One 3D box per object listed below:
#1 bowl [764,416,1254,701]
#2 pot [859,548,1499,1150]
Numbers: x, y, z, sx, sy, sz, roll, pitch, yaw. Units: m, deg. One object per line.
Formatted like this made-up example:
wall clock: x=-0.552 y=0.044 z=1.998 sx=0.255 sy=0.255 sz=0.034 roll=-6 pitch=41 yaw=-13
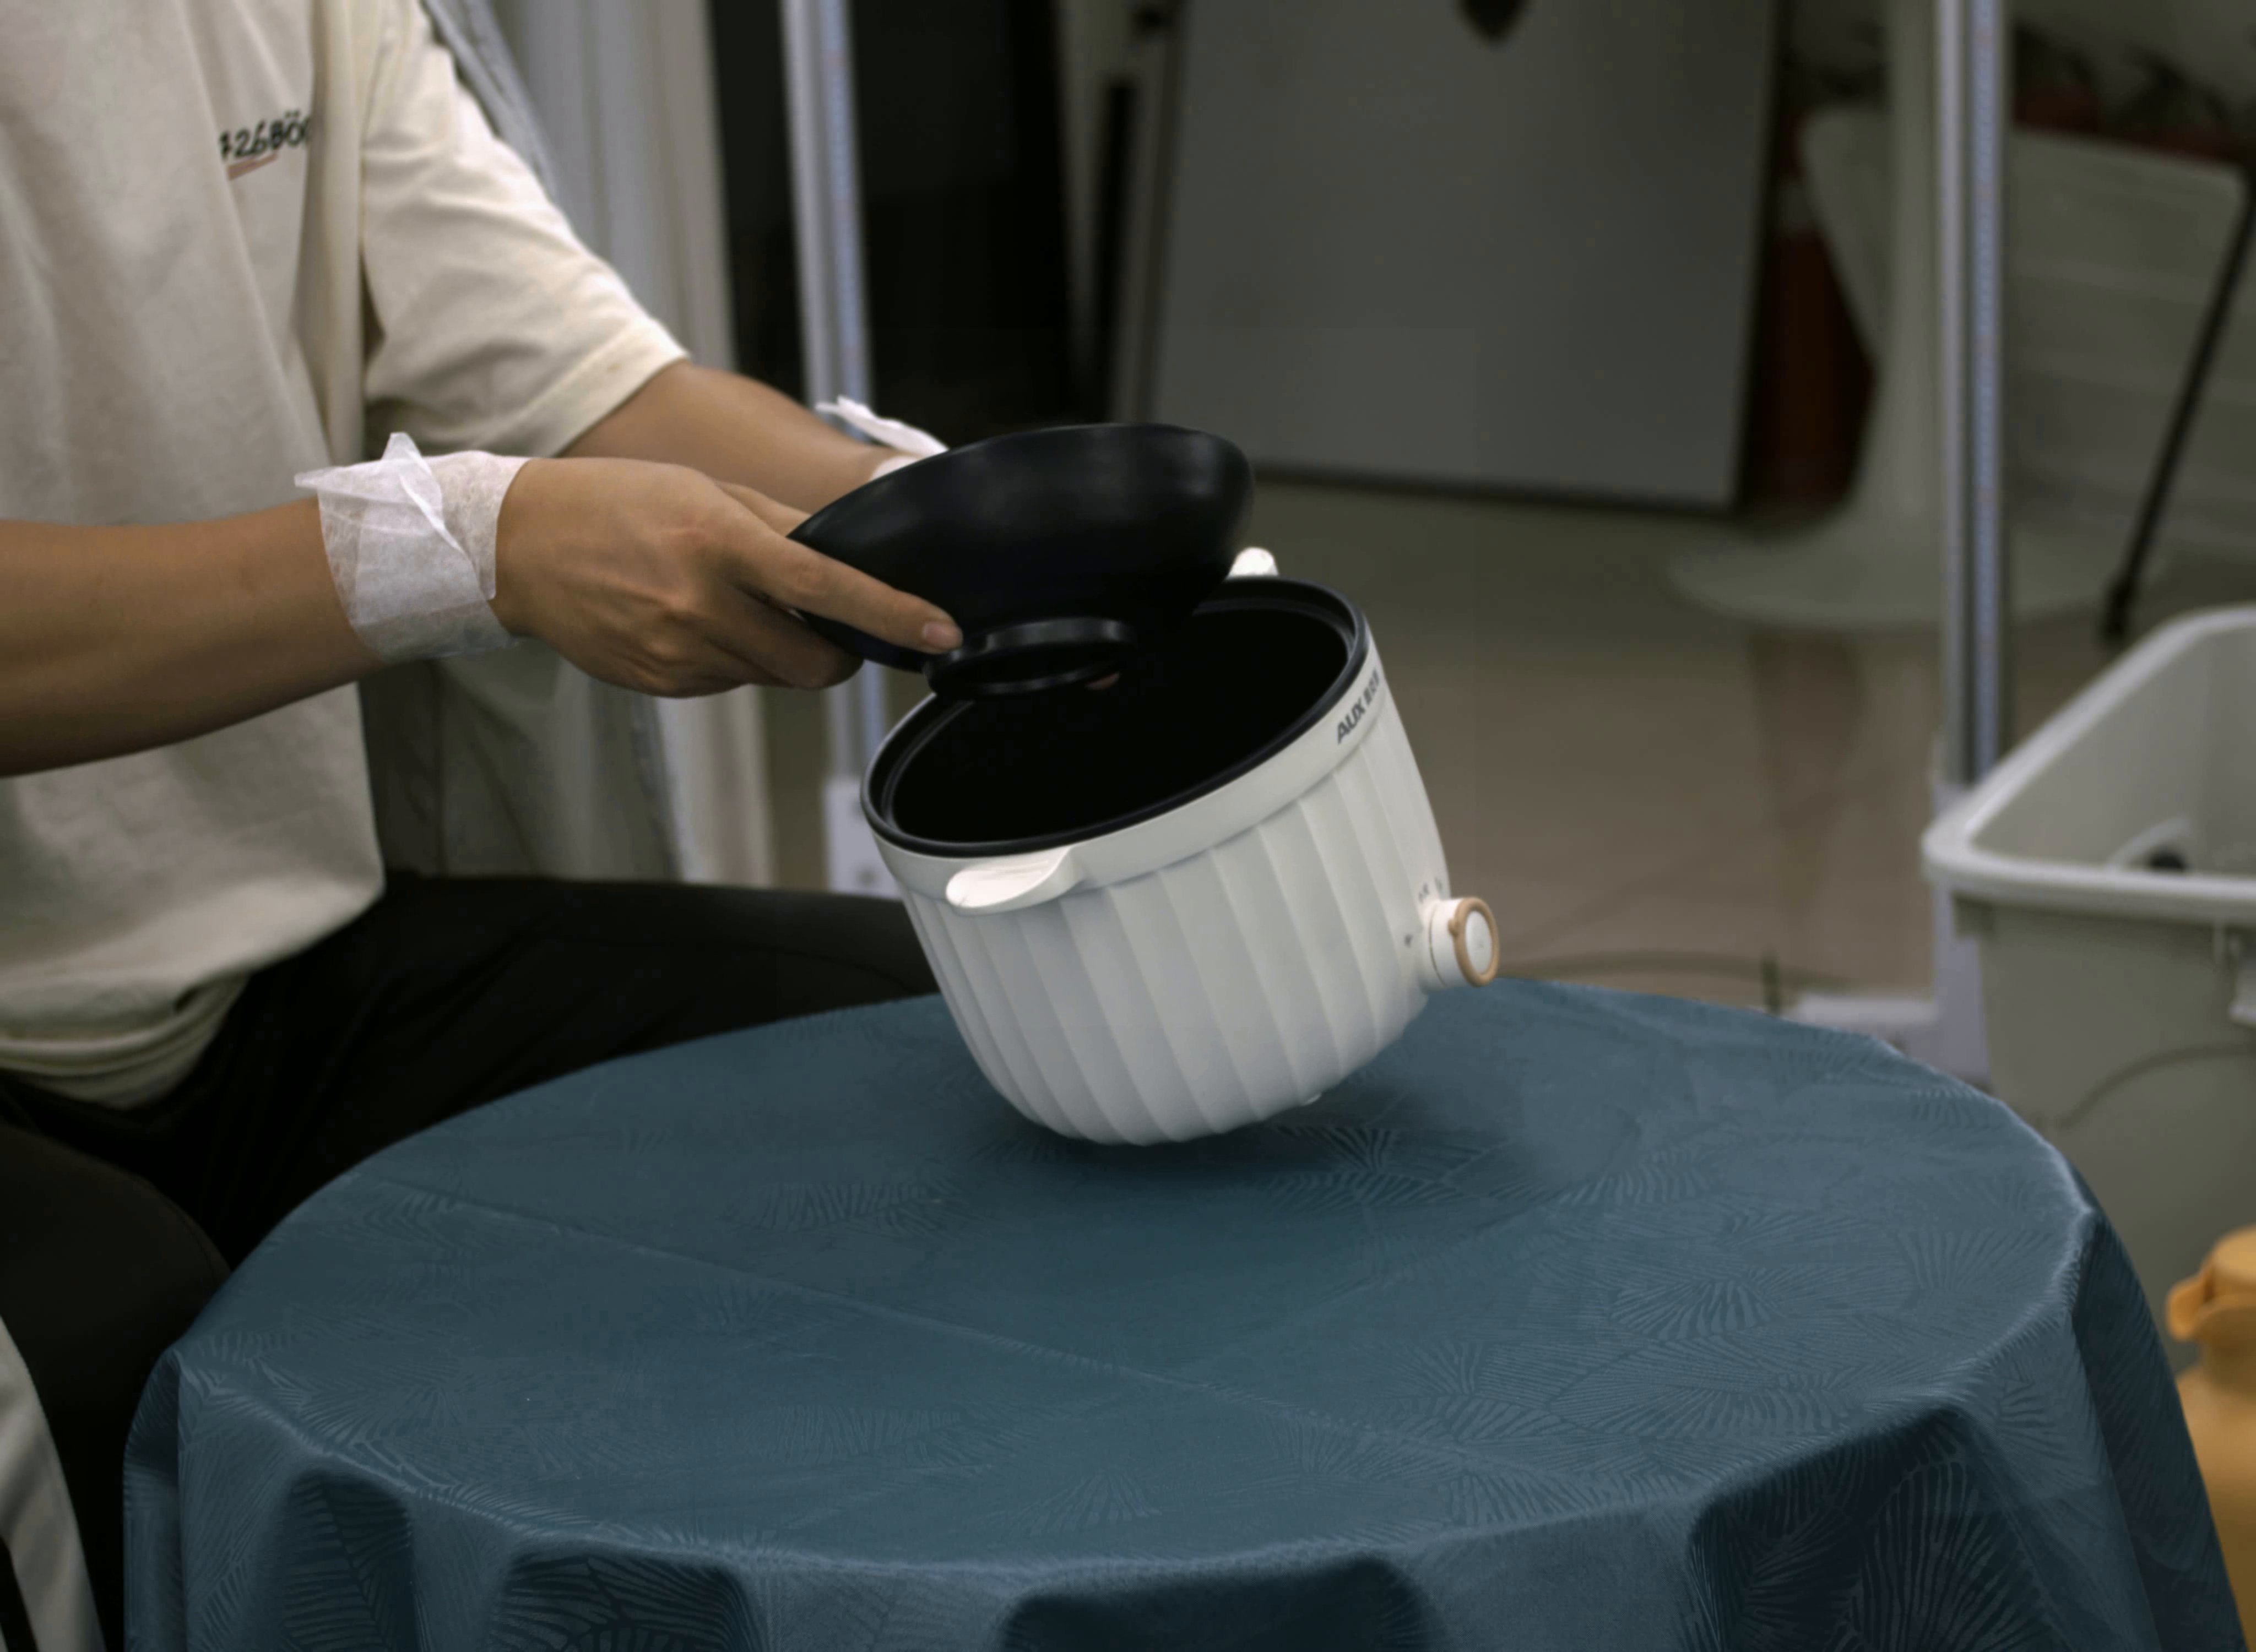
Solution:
bowl: x=-0.034 y=-0.082 z=1.771 sx=0.166 sy=0.067 sz=0.138 roll=-6 pitch=-14 yaw=-22
pot: x=0.022 y=0.016 z=1.821 sx=0.191 sy=0.143 sz=0.239 roll=-12 pitch=26 yaw=30
